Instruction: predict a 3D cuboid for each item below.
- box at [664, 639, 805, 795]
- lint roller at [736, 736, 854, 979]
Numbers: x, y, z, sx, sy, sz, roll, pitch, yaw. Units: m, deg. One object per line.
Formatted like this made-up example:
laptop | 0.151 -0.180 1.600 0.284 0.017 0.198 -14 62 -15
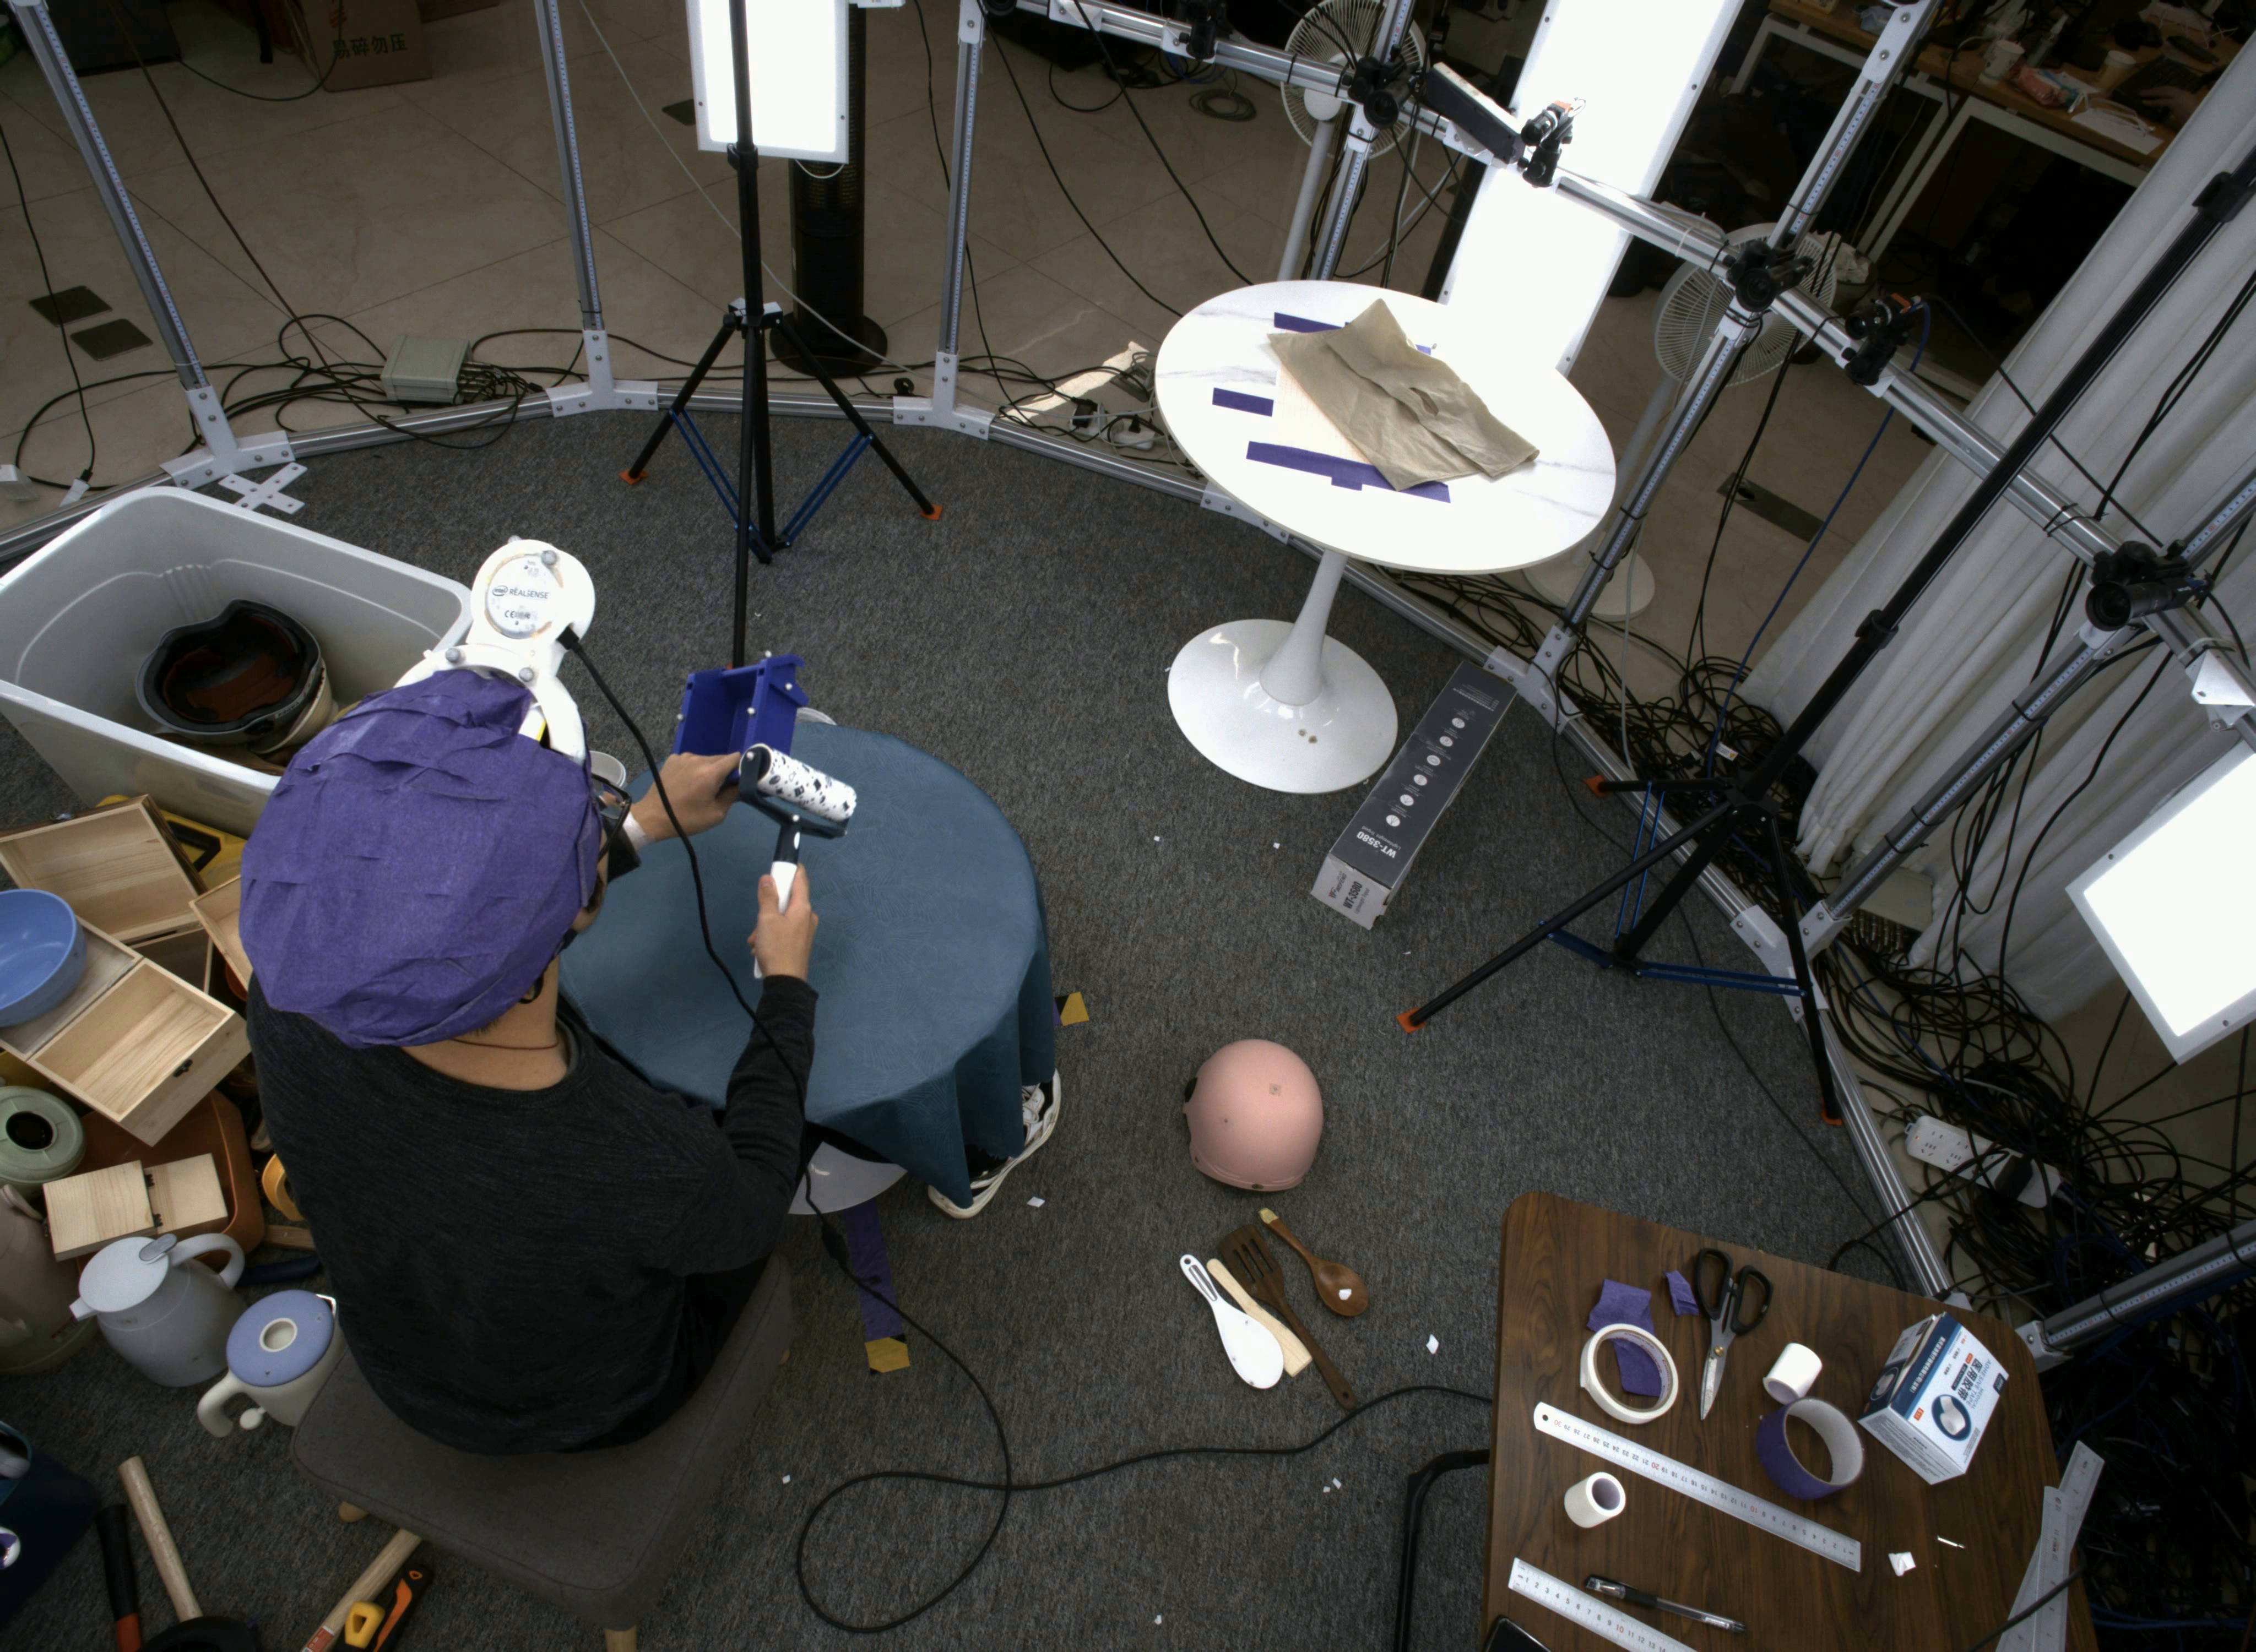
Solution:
box | -0.455 -0.129 1.498 0.121 0.084 0.178 -6 69 23
lint roller | -0.380 0.044 1.439 0.049 0.181 0.247 -1 76 23
